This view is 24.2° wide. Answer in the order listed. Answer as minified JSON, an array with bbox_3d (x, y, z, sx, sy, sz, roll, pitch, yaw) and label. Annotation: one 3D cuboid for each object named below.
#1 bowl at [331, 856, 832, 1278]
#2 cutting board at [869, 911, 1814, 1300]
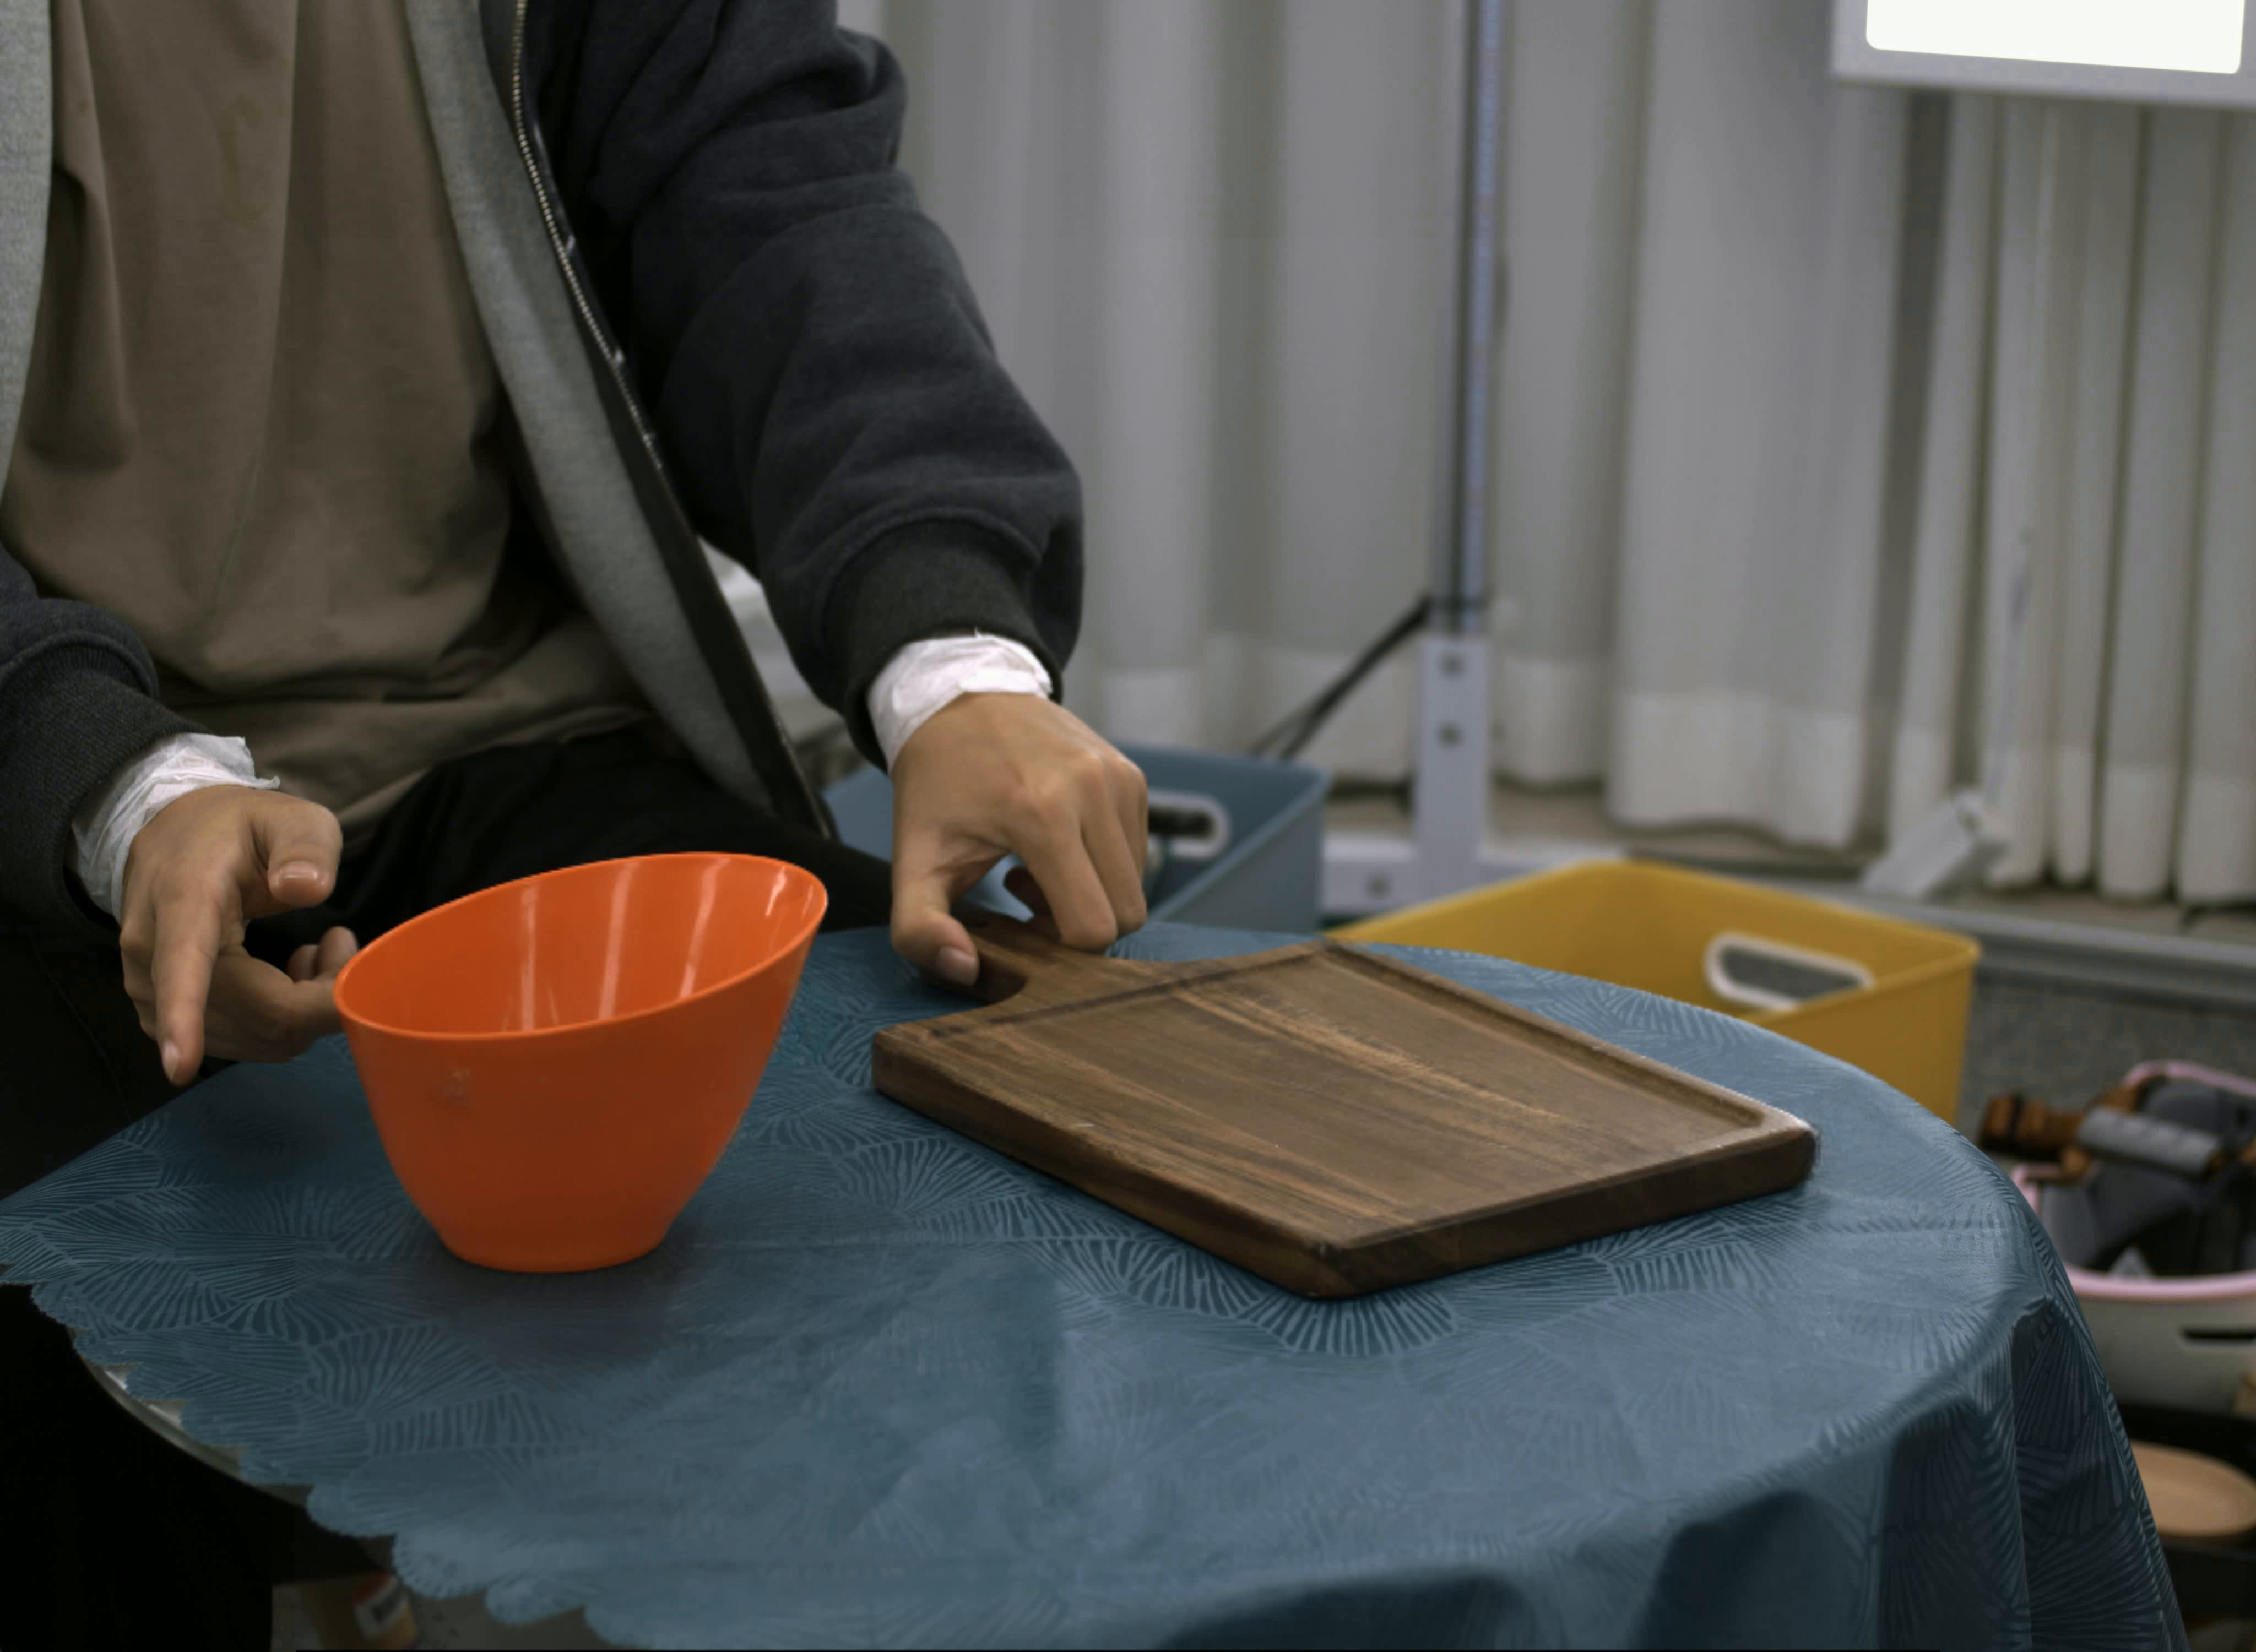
[{"bbox_3d":[-0.161,0.074,1.565,0.147,0.105,0.147,1,17,0],"label":"bowl"},{"bbox_3d":[0.036,0.077,1.712,0.202,0.023,0.347,-10,19,-35],"label":"cutting board"}]
